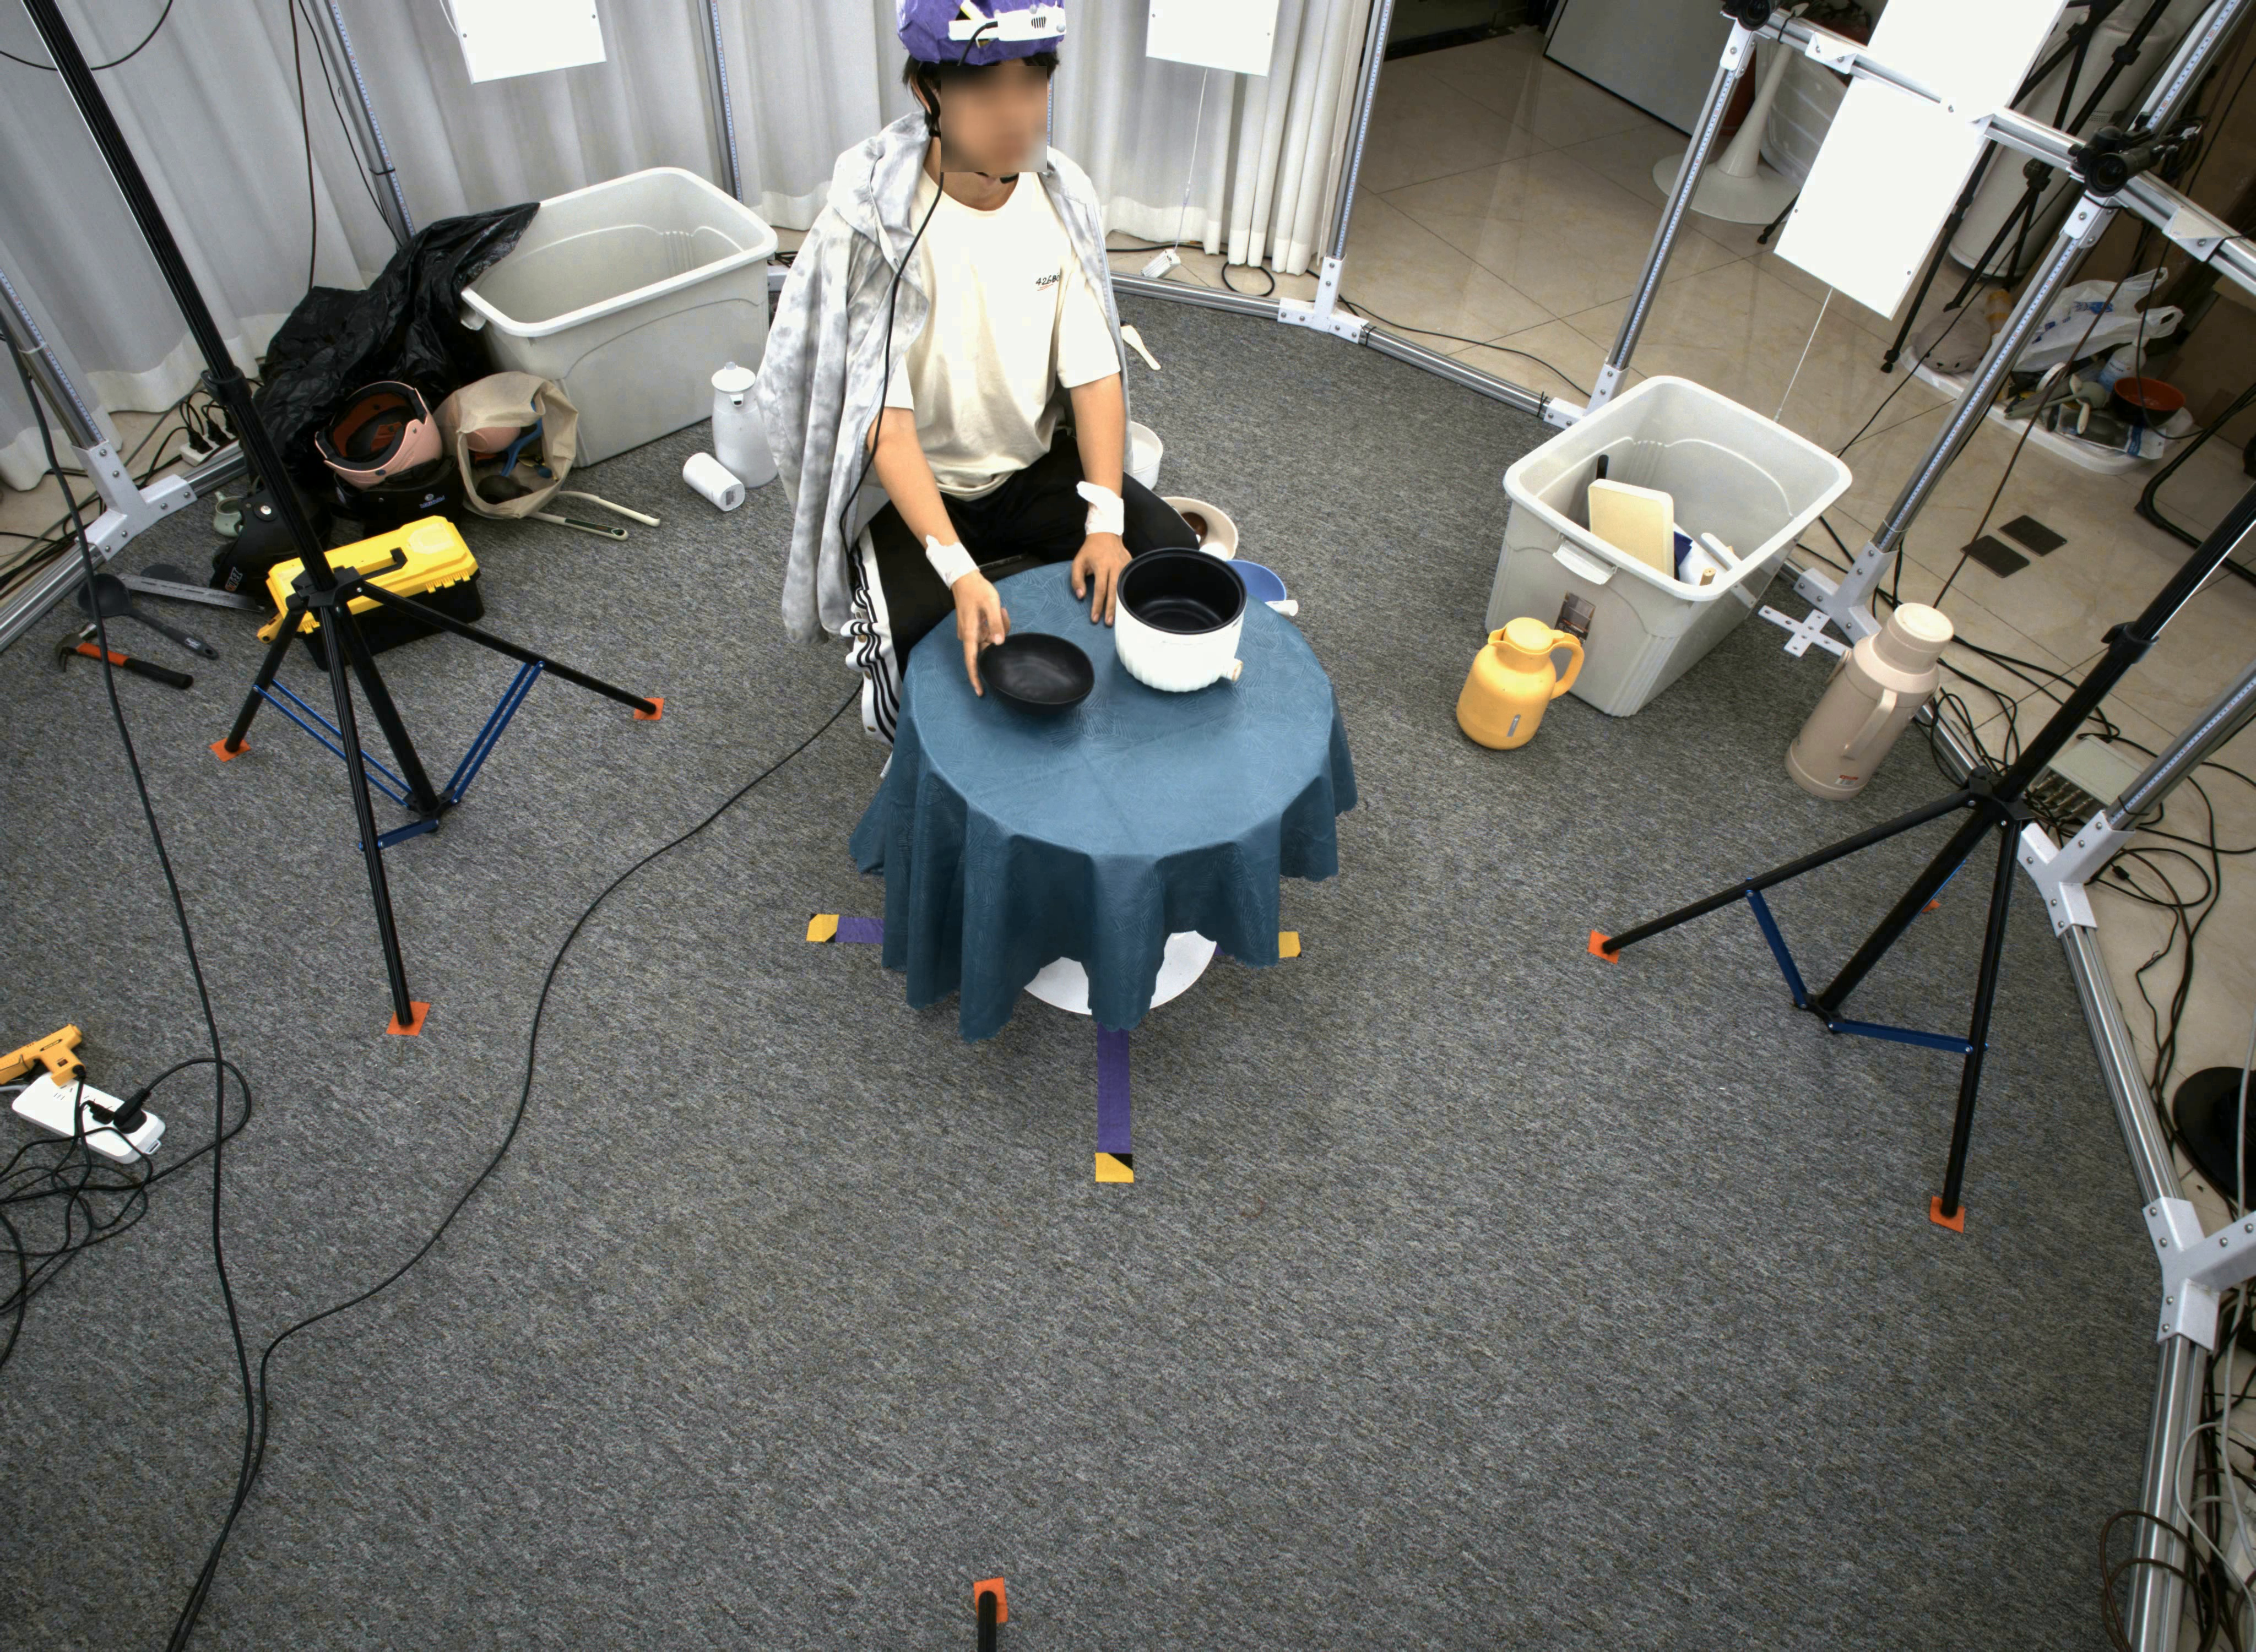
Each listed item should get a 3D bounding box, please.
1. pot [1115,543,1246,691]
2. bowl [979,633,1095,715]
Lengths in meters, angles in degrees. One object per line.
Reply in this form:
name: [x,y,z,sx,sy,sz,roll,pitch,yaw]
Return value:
pot: [0.076,-0.286,1.826,0.192,0.139,0.244,21,51,18]
bowl: [-0.129,-0.200,1.785,0.171,0.065,0.139,23,49,17]
